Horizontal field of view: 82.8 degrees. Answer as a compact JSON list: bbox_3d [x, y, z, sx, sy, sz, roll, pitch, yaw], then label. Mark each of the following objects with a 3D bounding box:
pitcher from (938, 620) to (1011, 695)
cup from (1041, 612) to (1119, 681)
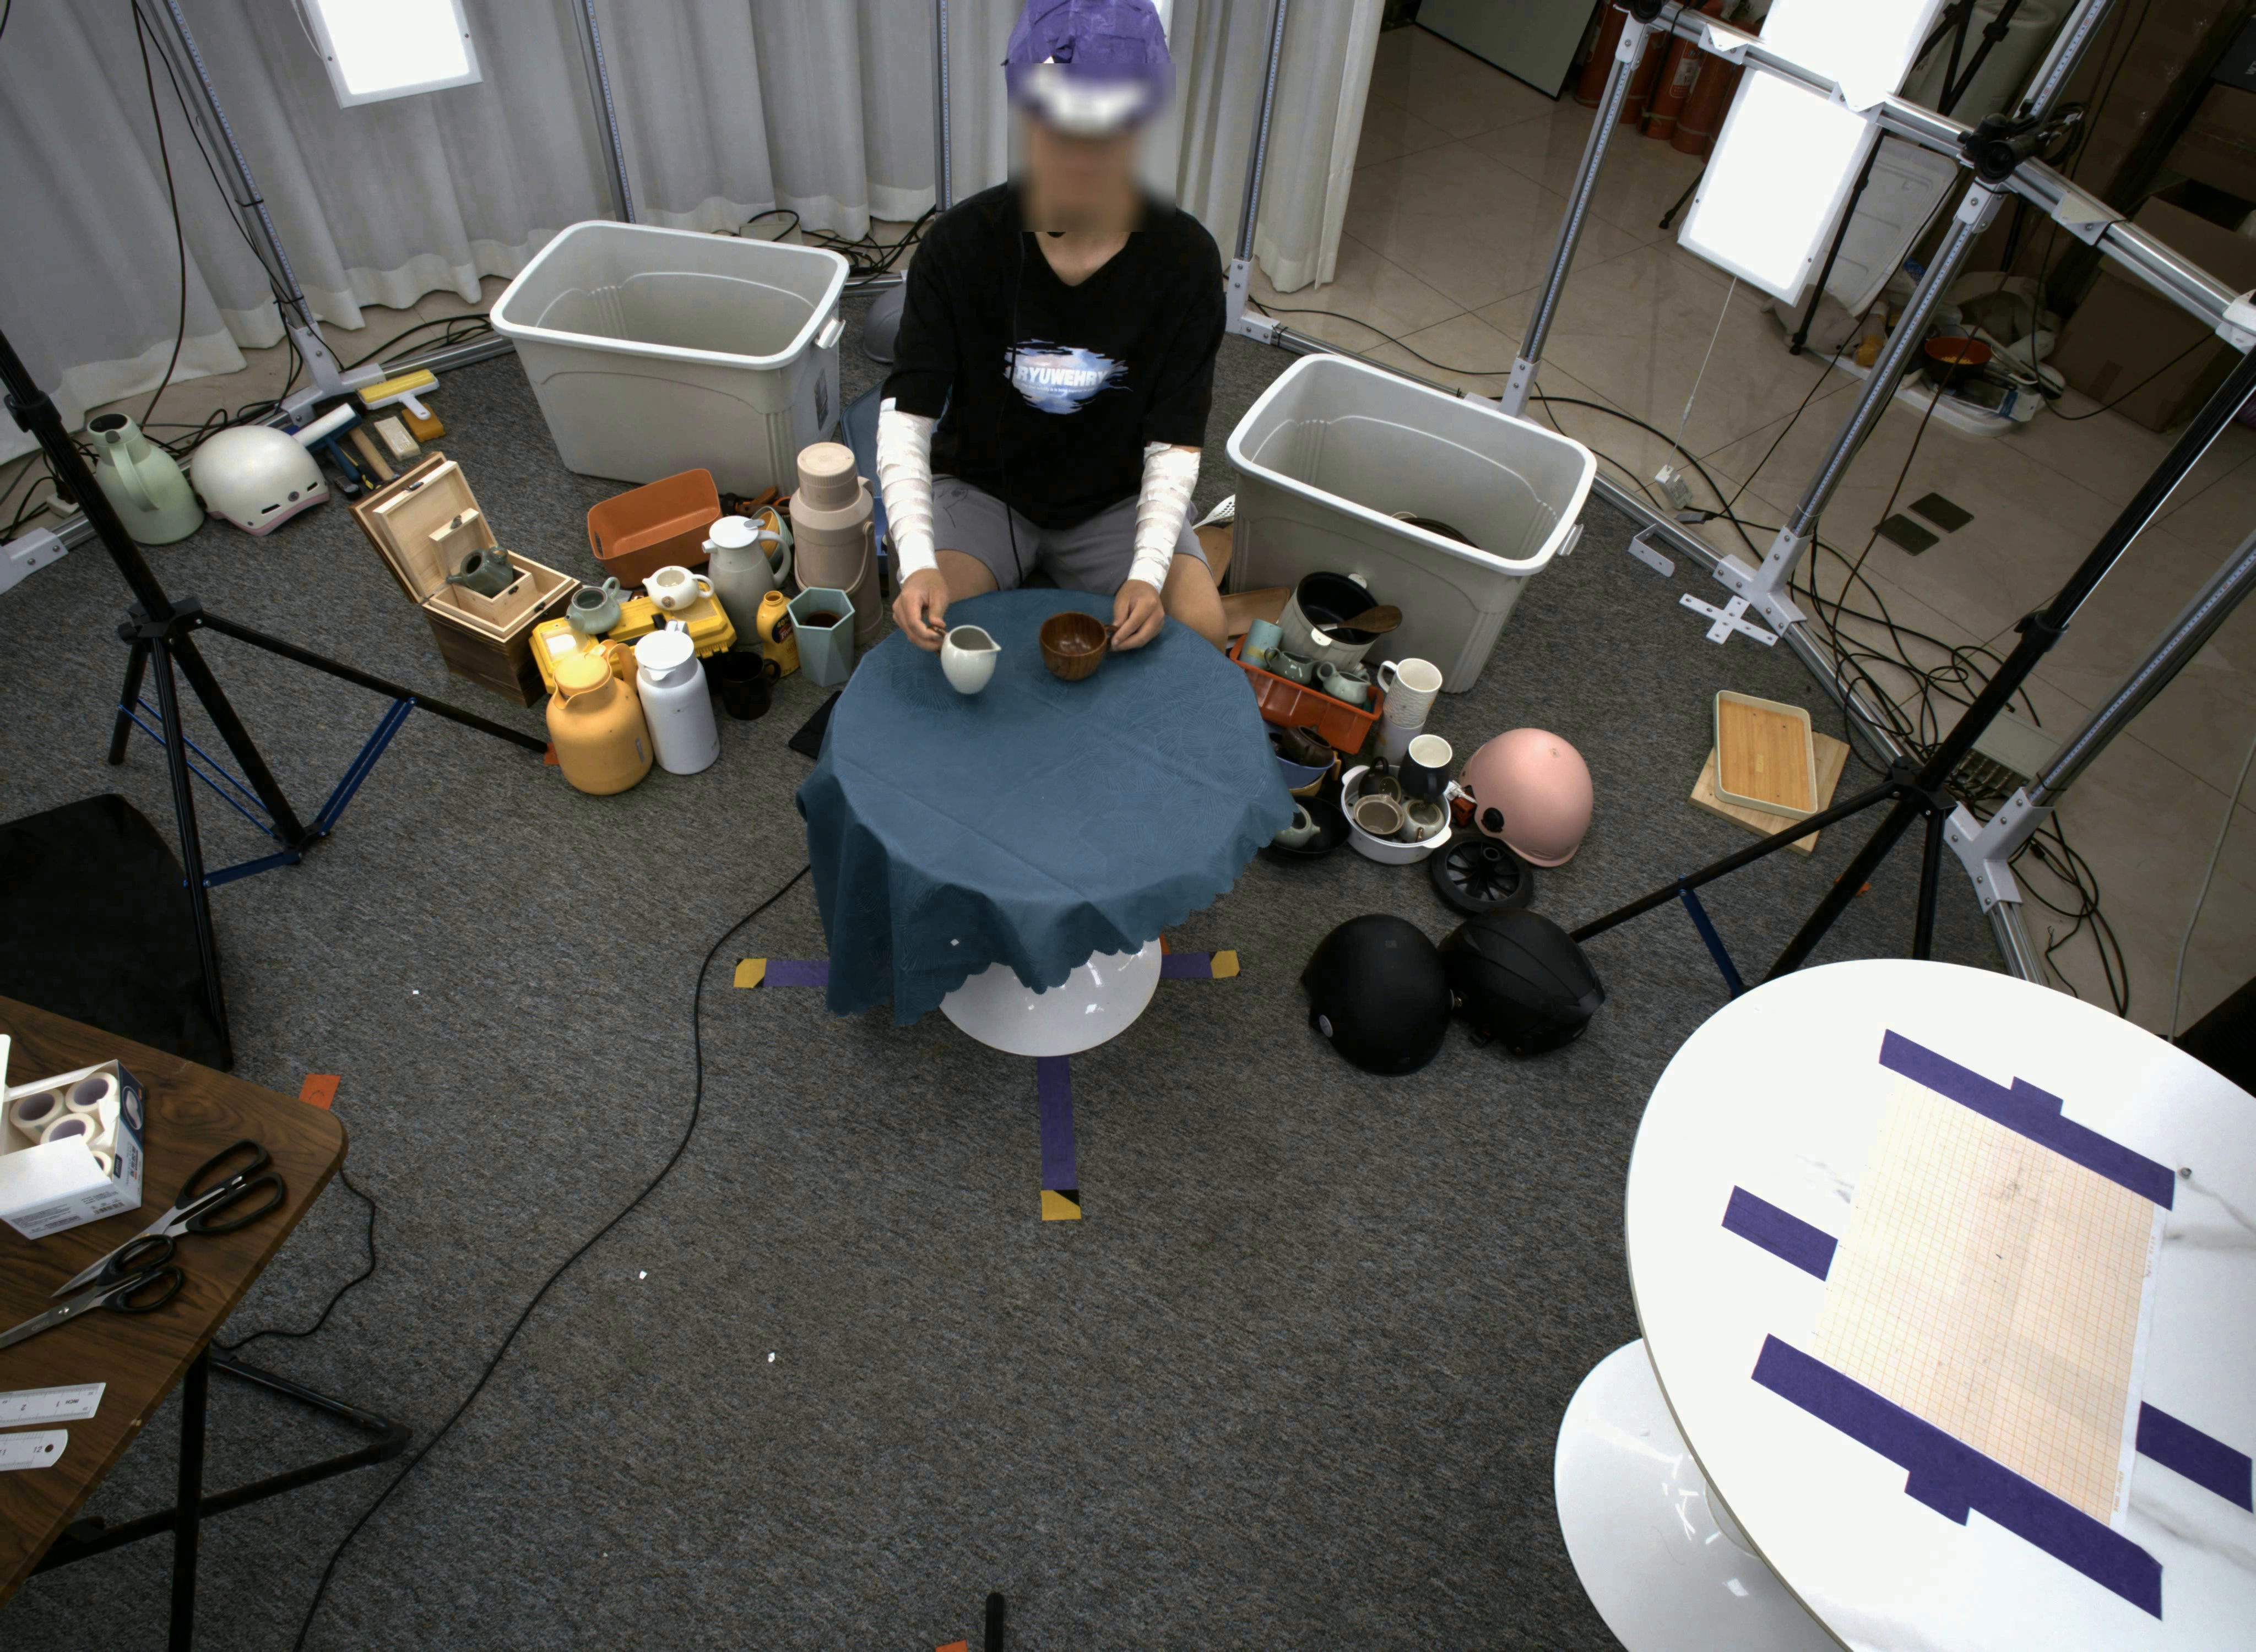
[{"bbox_3d":[-0.215,-0.231,1.765,0.120,0.086,0.077,32,48,15],"label":"pitcher"},{"bbox_3d":[-0.066,-0.256,1.848,0.119,0.066,0.098,-18,50,-20],"label":"cup"}]
